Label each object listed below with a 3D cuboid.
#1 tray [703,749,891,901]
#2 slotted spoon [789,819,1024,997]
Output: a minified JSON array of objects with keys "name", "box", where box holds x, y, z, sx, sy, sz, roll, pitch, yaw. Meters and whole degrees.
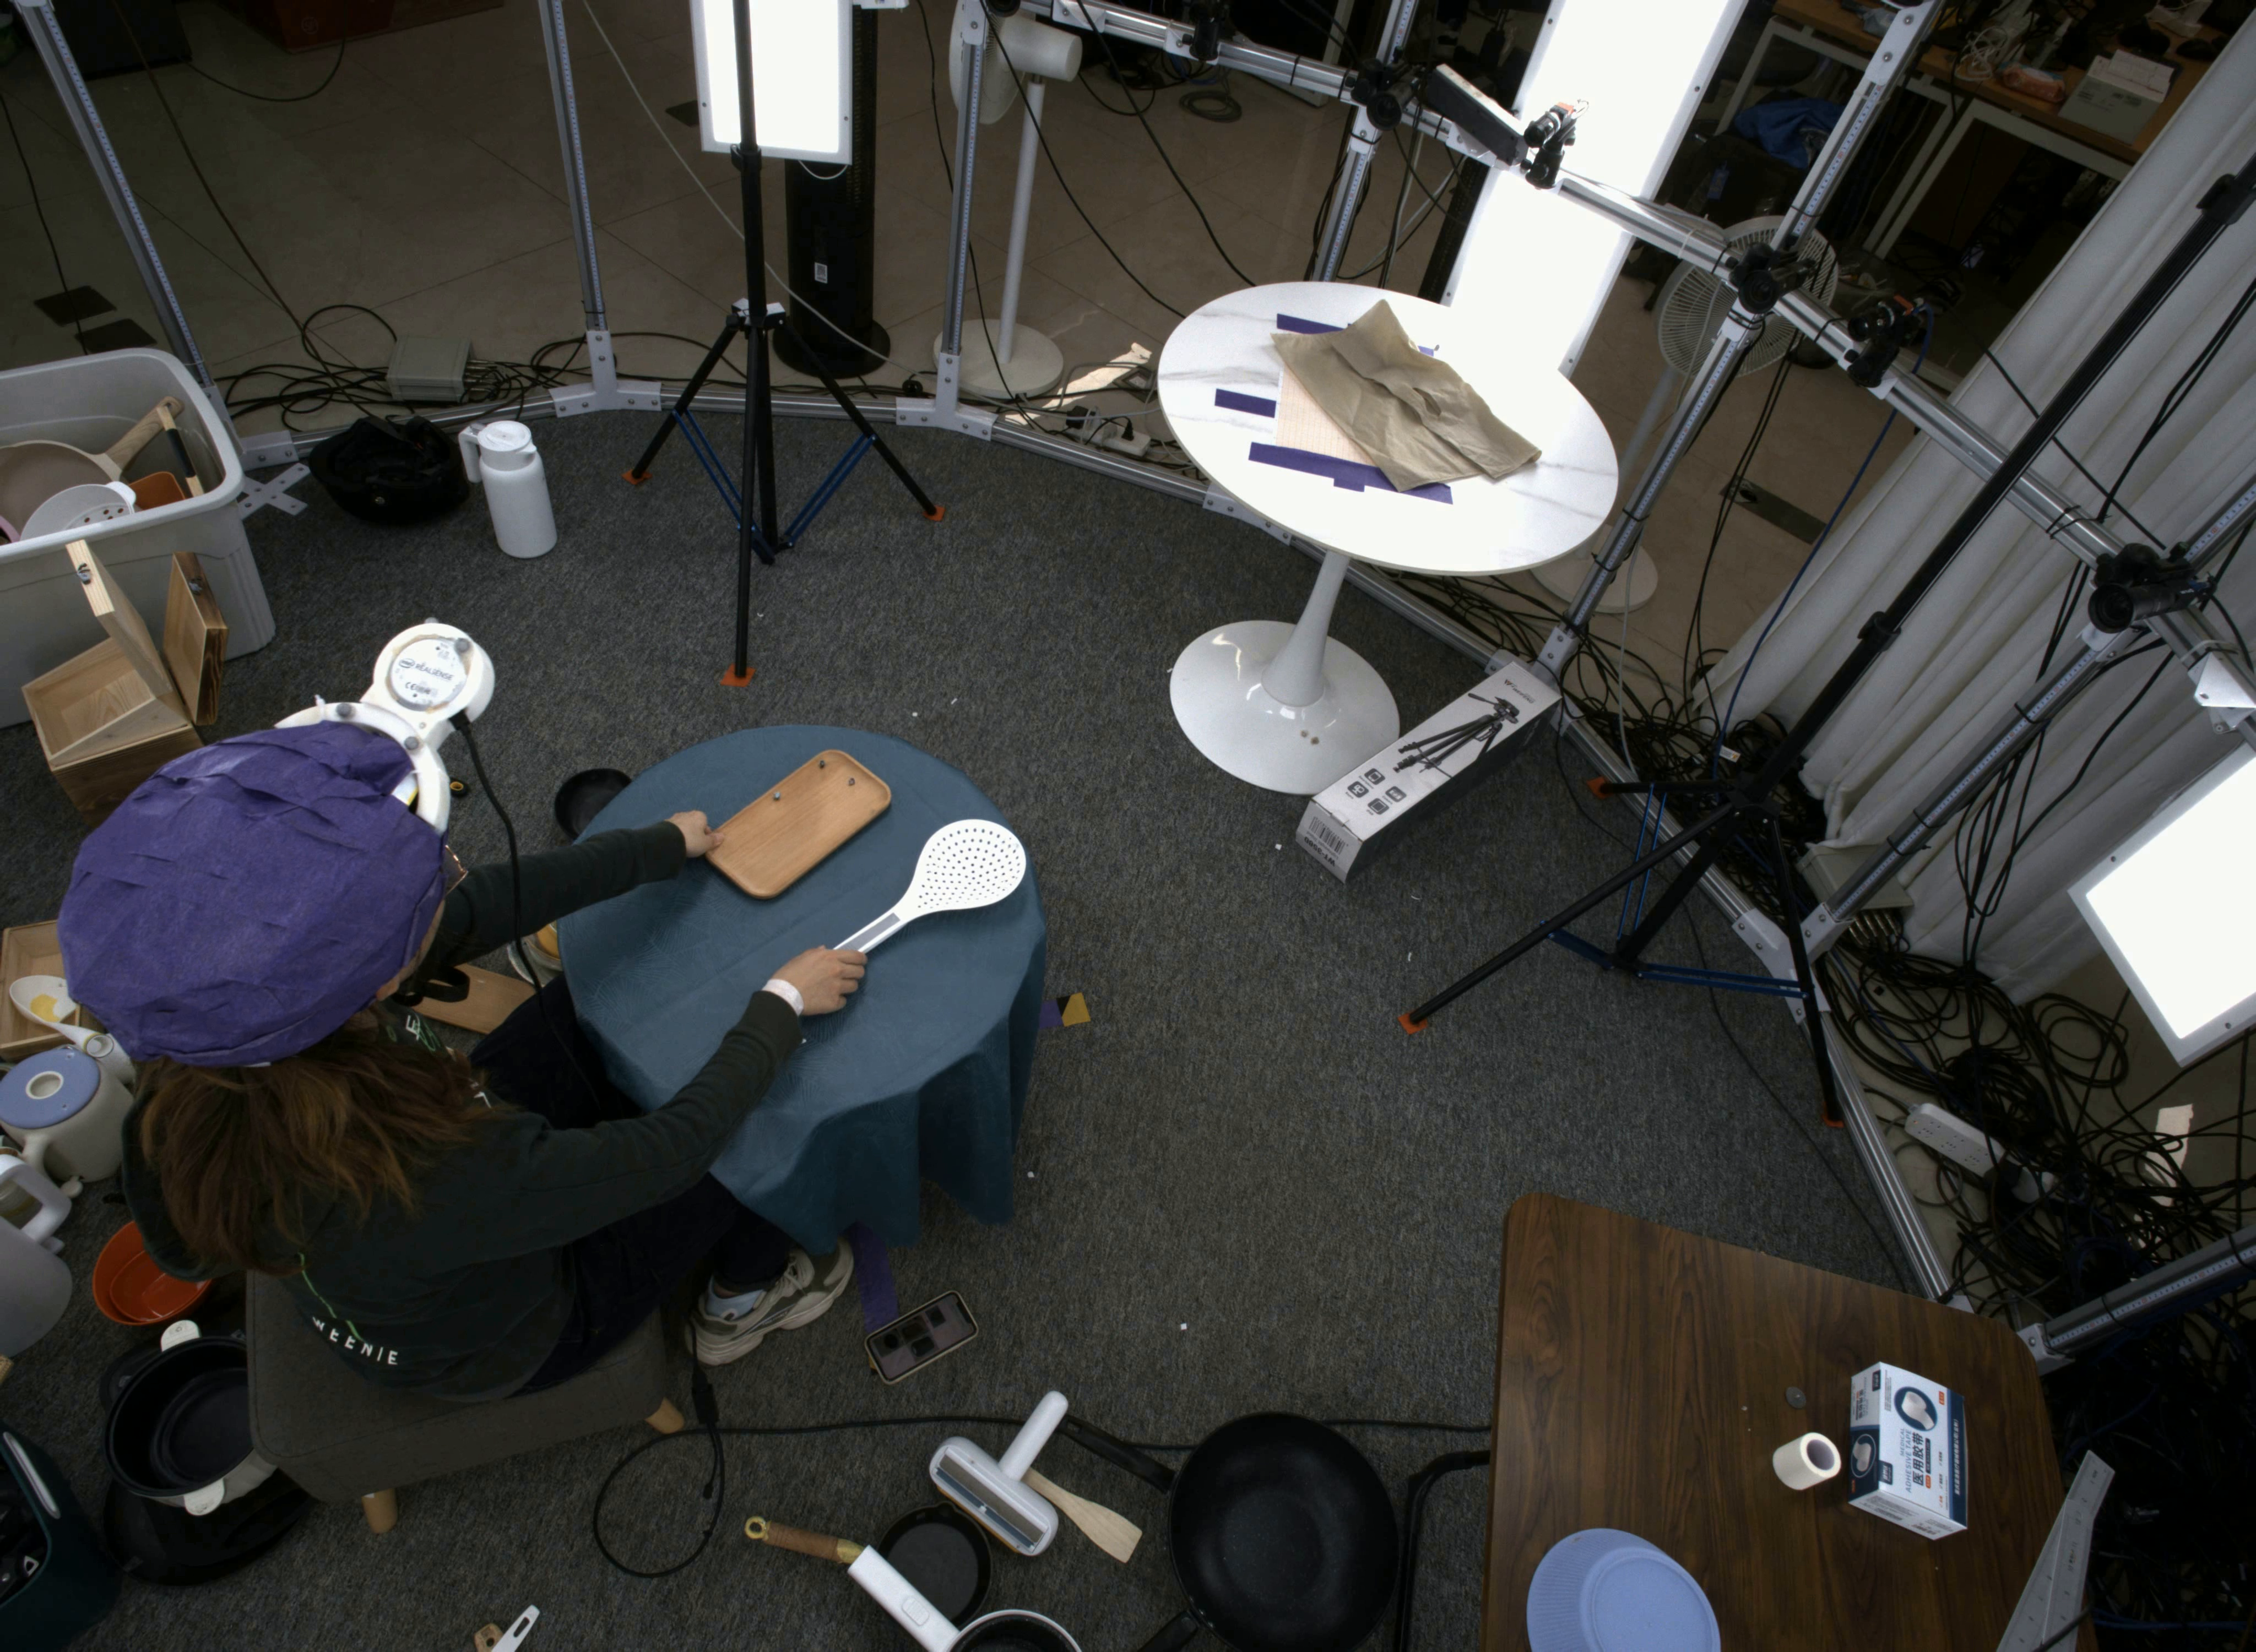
[{"name":"tray","box":[-0.436,-0.005,1.718,0.128,0.023,0.250,36,54,14]},{"name":"slotted spoon","box":[-0.281,0.106,1.658,0.350,0.047,0.132,-34,64,-31]}]
